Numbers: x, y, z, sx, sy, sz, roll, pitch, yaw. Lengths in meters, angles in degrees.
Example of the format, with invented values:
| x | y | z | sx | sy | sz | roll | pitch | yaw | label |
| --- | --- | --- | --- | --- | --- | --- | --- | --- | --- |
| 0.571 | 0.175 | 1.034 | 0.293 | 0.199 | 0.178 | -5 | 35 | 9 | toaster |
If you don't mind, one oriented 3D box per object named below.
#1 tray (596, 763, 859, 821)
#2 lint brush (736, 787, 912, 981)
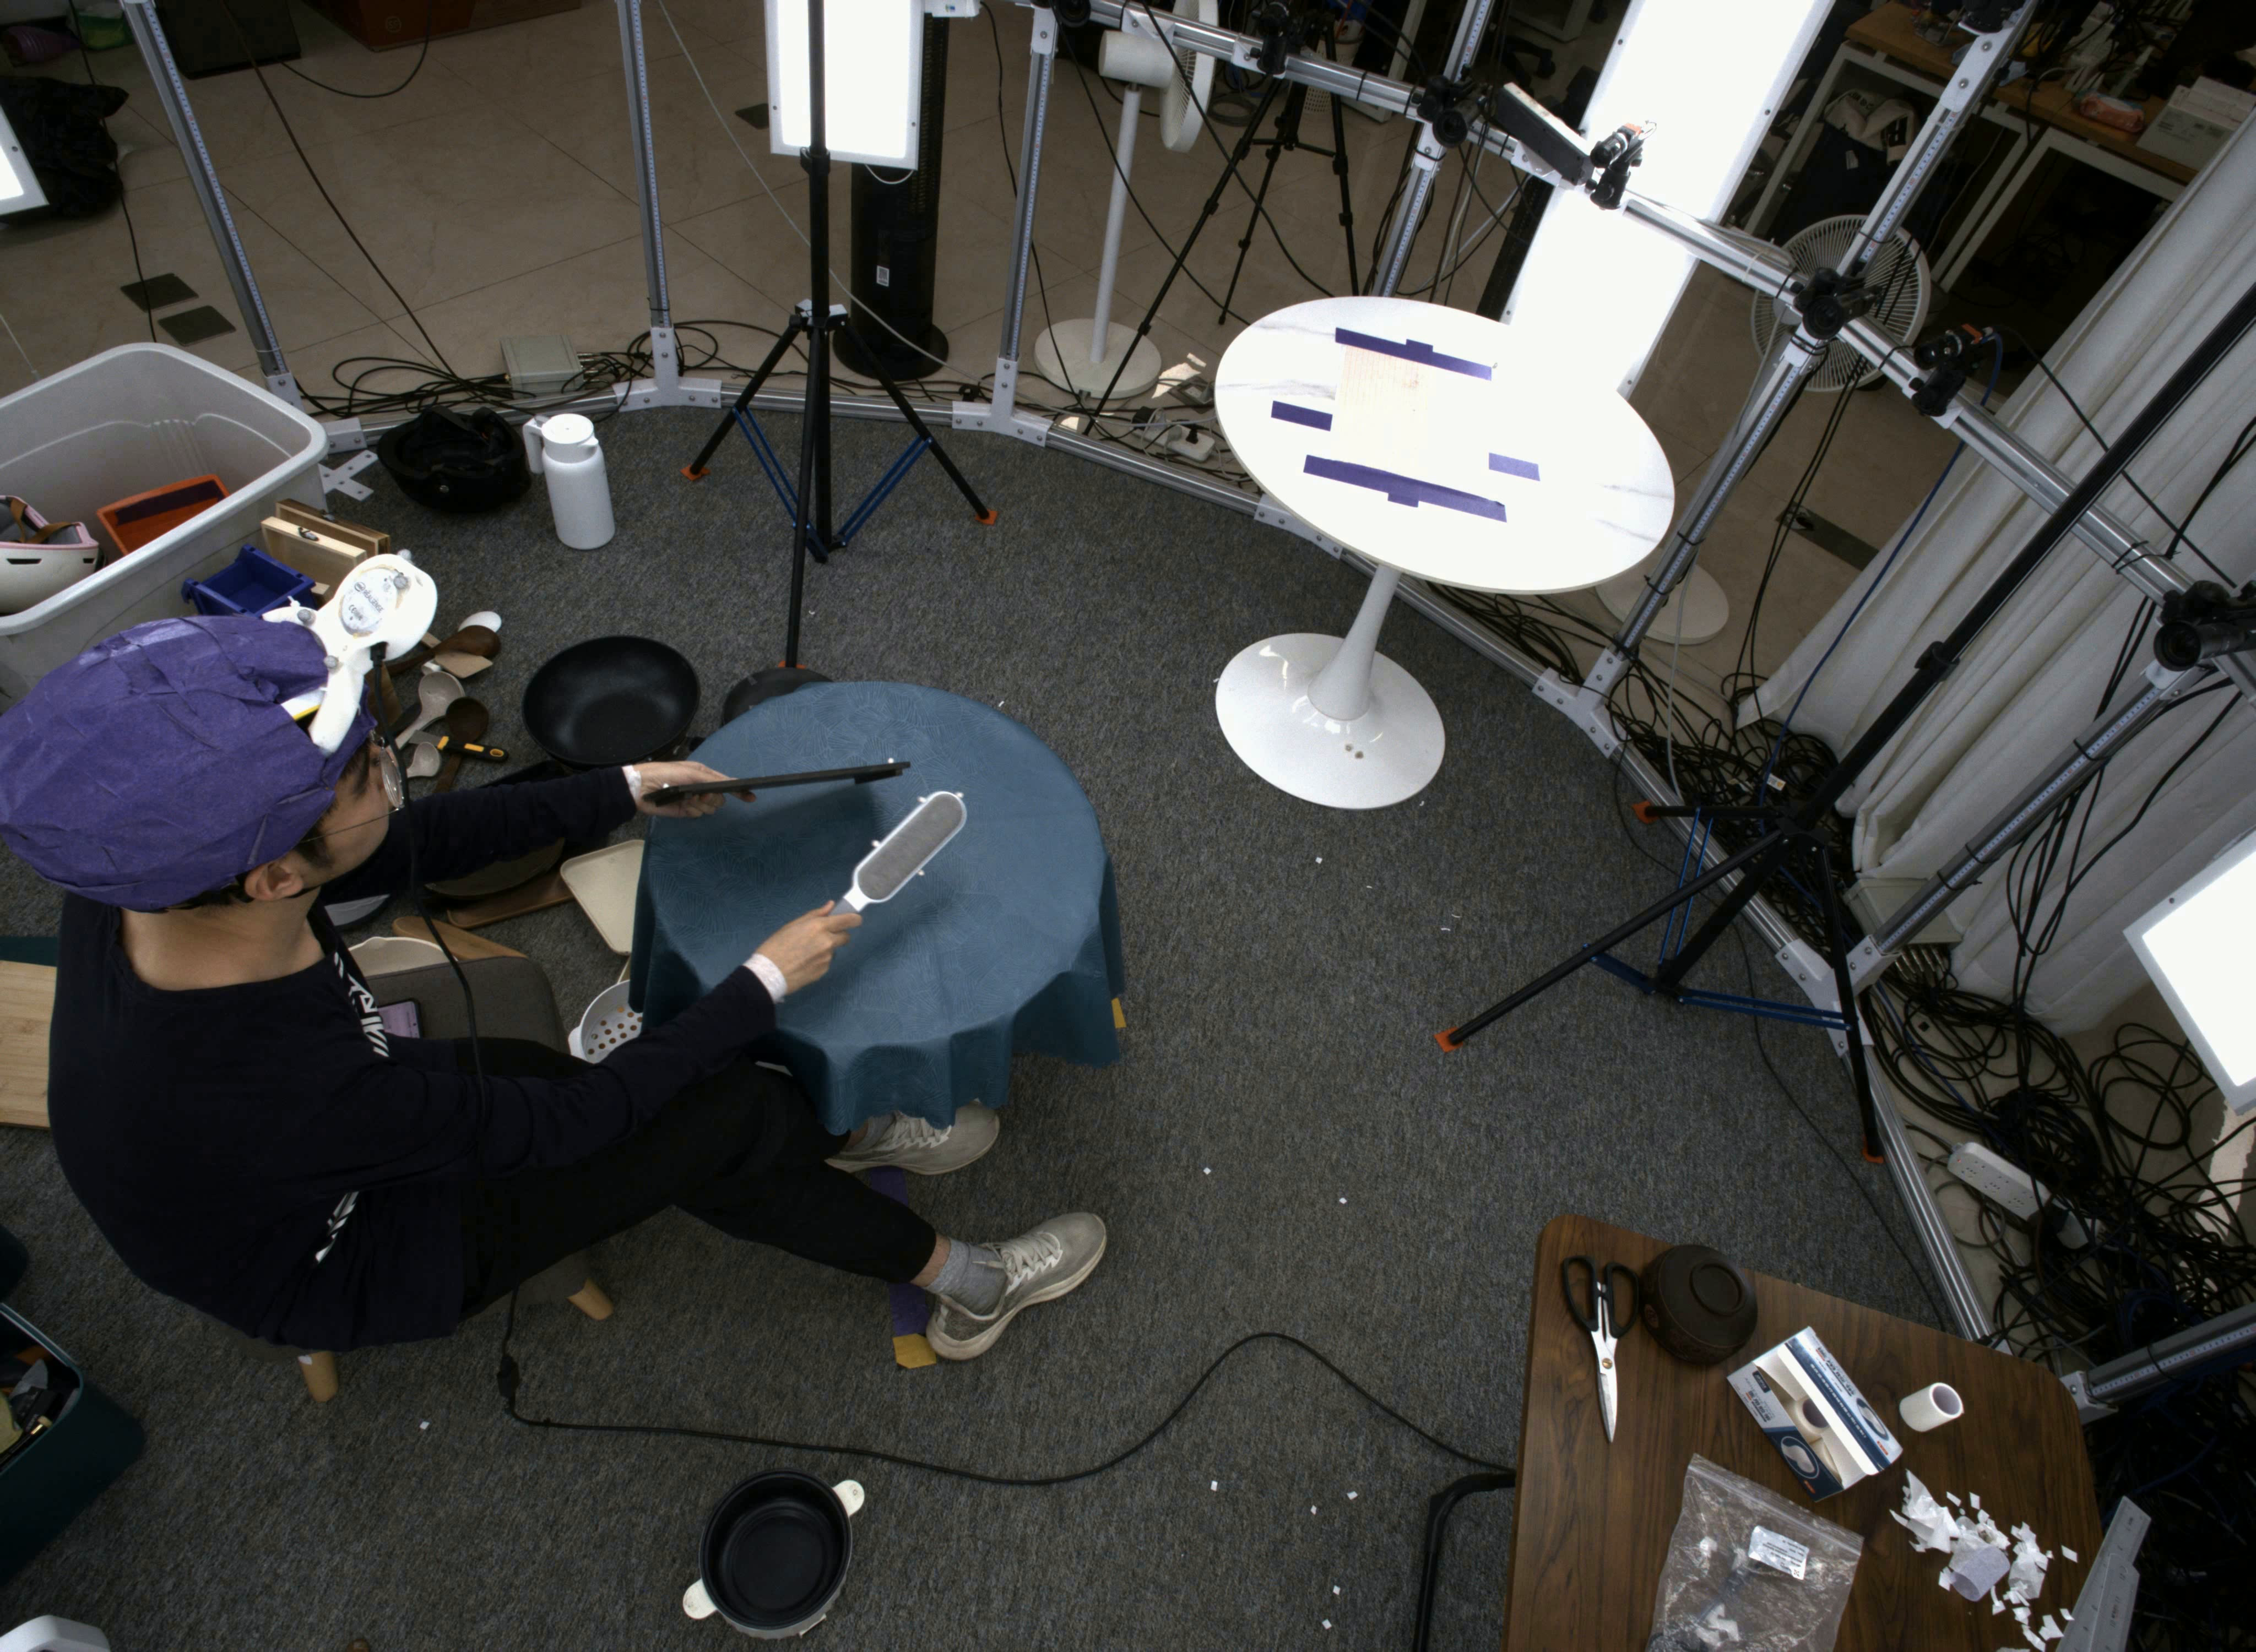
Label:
| x | y | z | sx | sy | sz | roll | pitch | yaw | label |
| --- | --- | --- | --- | --- | --- | --- | --- | --- | --- |
| -0.504 | -0.043 | 1.618 | 0.309 | 0.166 | 0.019 | -11 | 91 | -34 | tray |
| -0.371 | 0.066 | 1.585 | 0.061 | 0.020 | 0.308 | 47 | 62 | -19 | lint brush |
